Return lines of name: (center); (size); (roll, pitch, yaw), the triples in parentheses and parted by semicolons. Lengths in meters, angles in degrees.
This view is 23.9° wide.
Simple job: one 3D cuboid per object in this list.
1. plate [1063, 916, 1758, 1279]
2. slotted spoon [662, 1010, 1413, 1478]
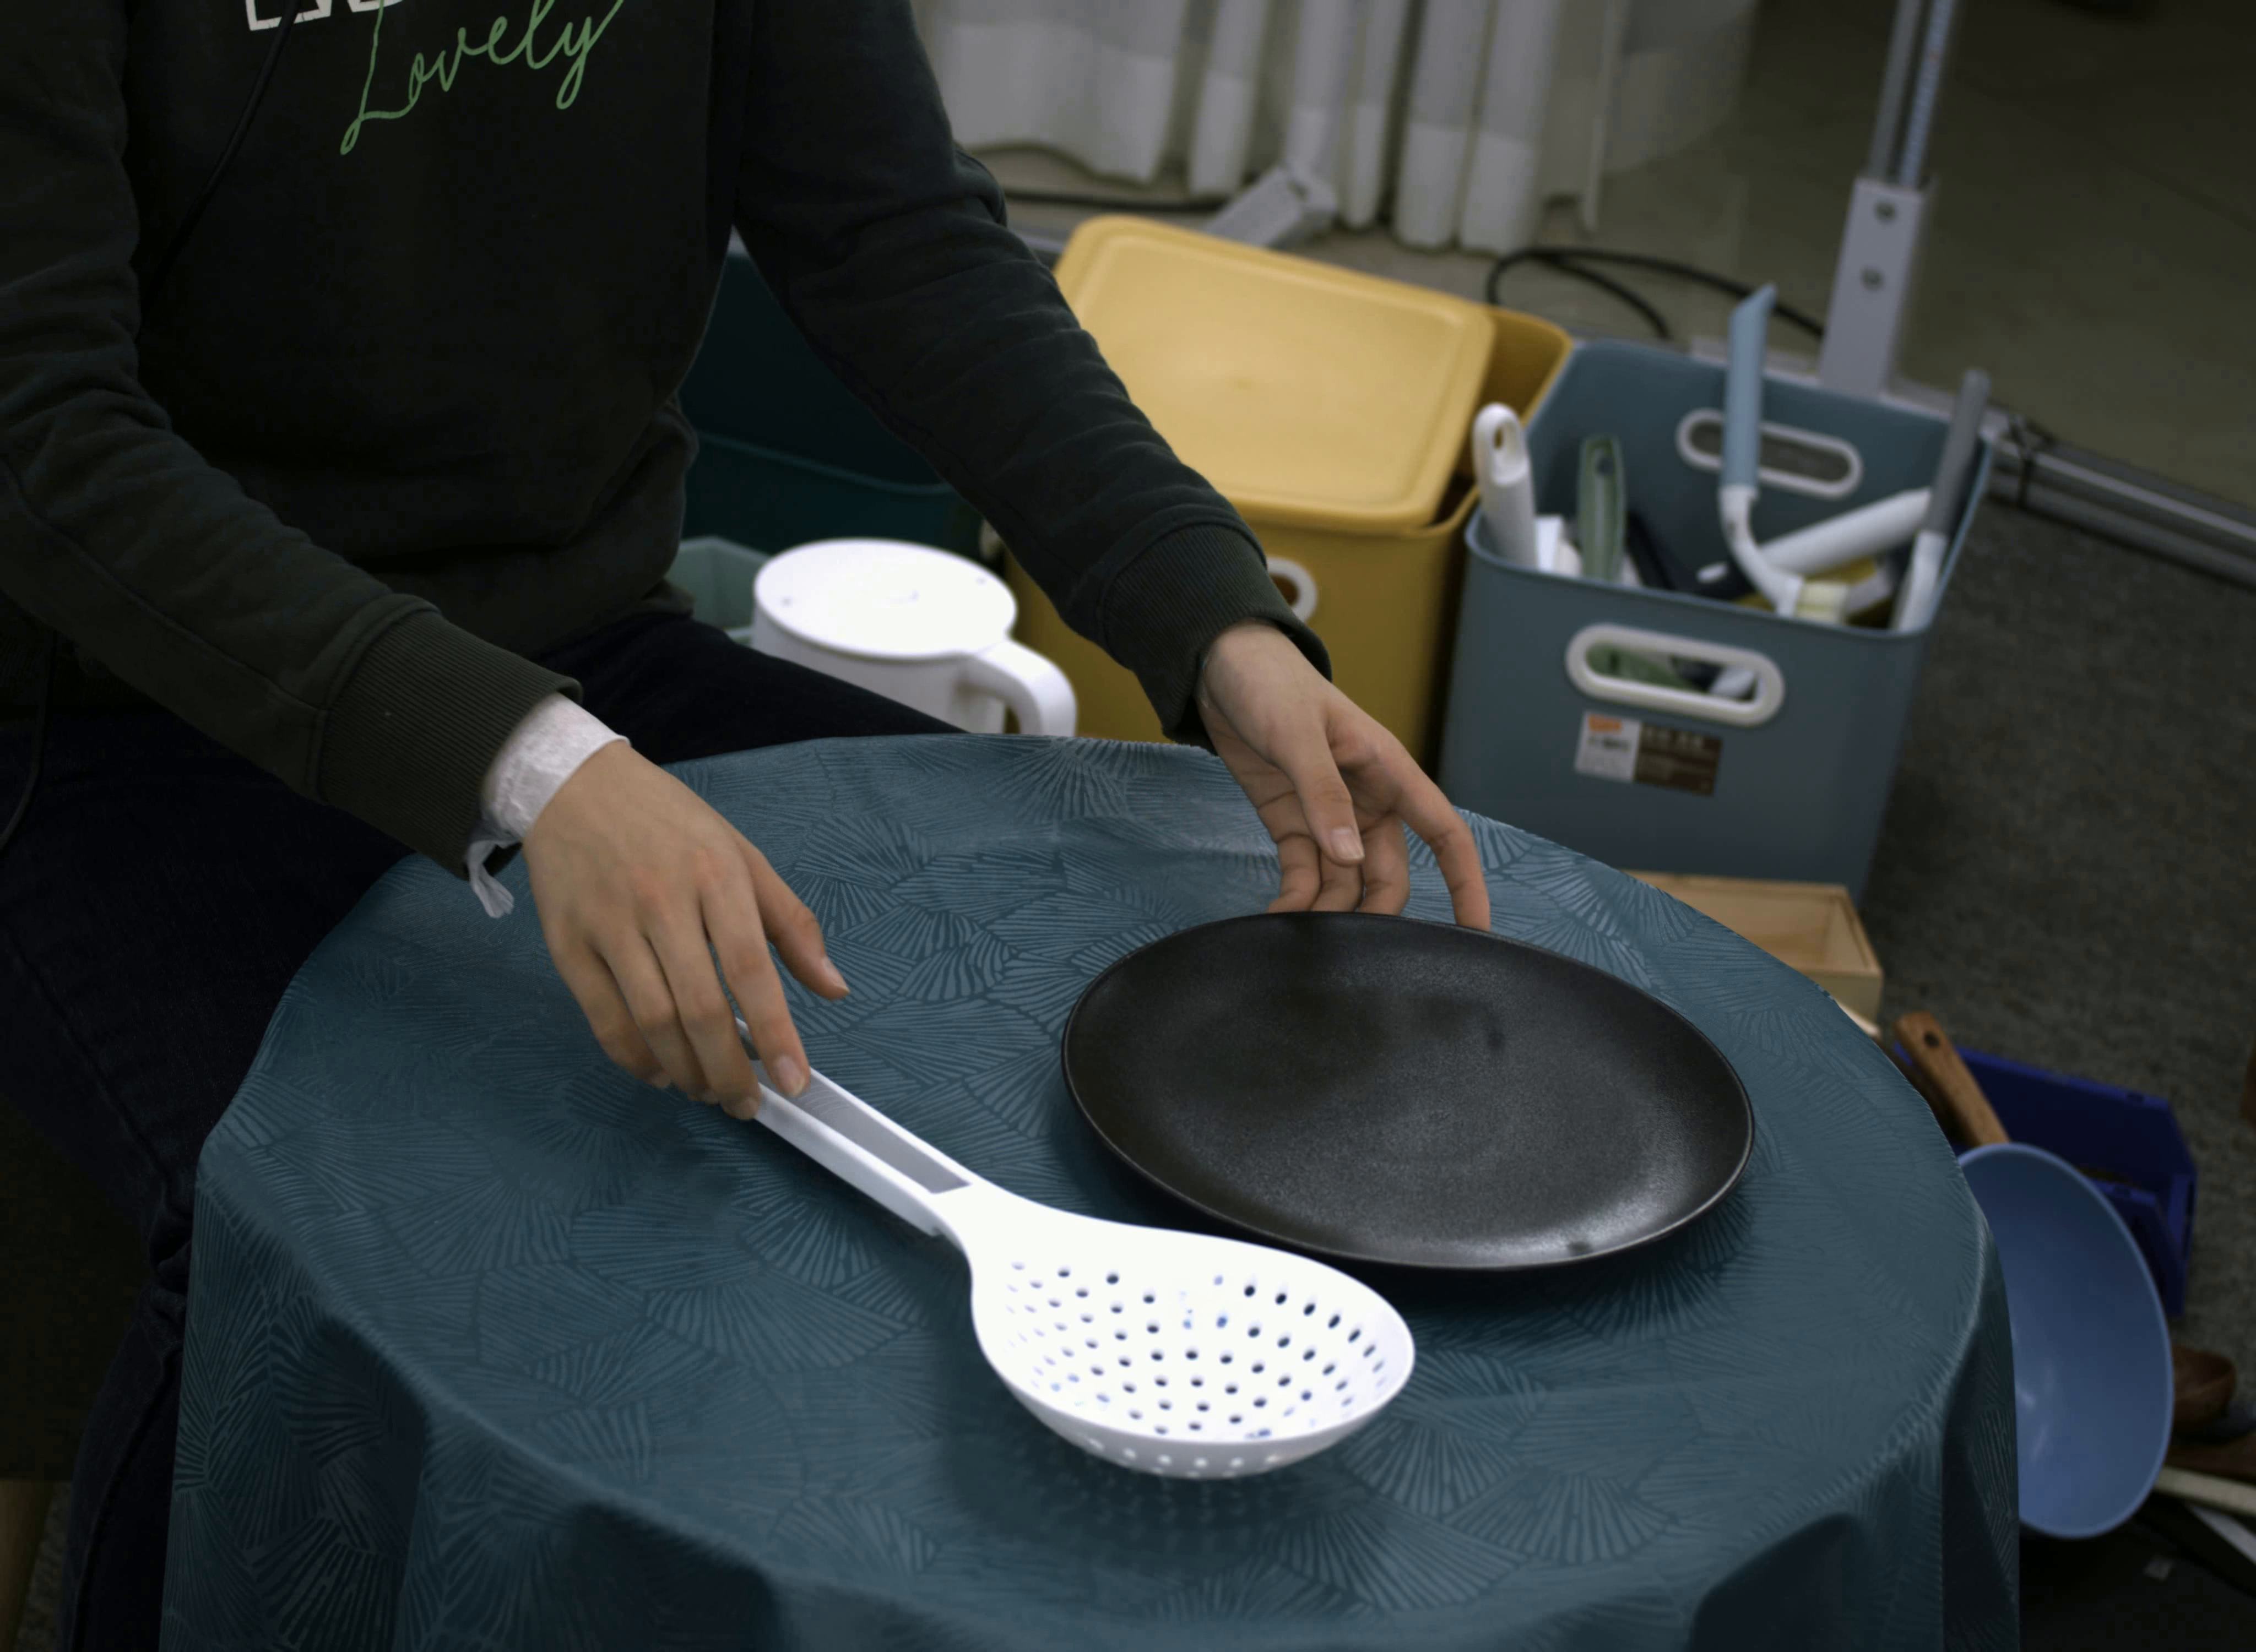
plate: (0.097, 0.097, 1.848); (0.243, 0.023, 0.246); (5, 27, -3)
slotted spoon: (-0.047, 0.129, 1.729); (0.135, 0.045, 0.353); (-12, 31, -36)
